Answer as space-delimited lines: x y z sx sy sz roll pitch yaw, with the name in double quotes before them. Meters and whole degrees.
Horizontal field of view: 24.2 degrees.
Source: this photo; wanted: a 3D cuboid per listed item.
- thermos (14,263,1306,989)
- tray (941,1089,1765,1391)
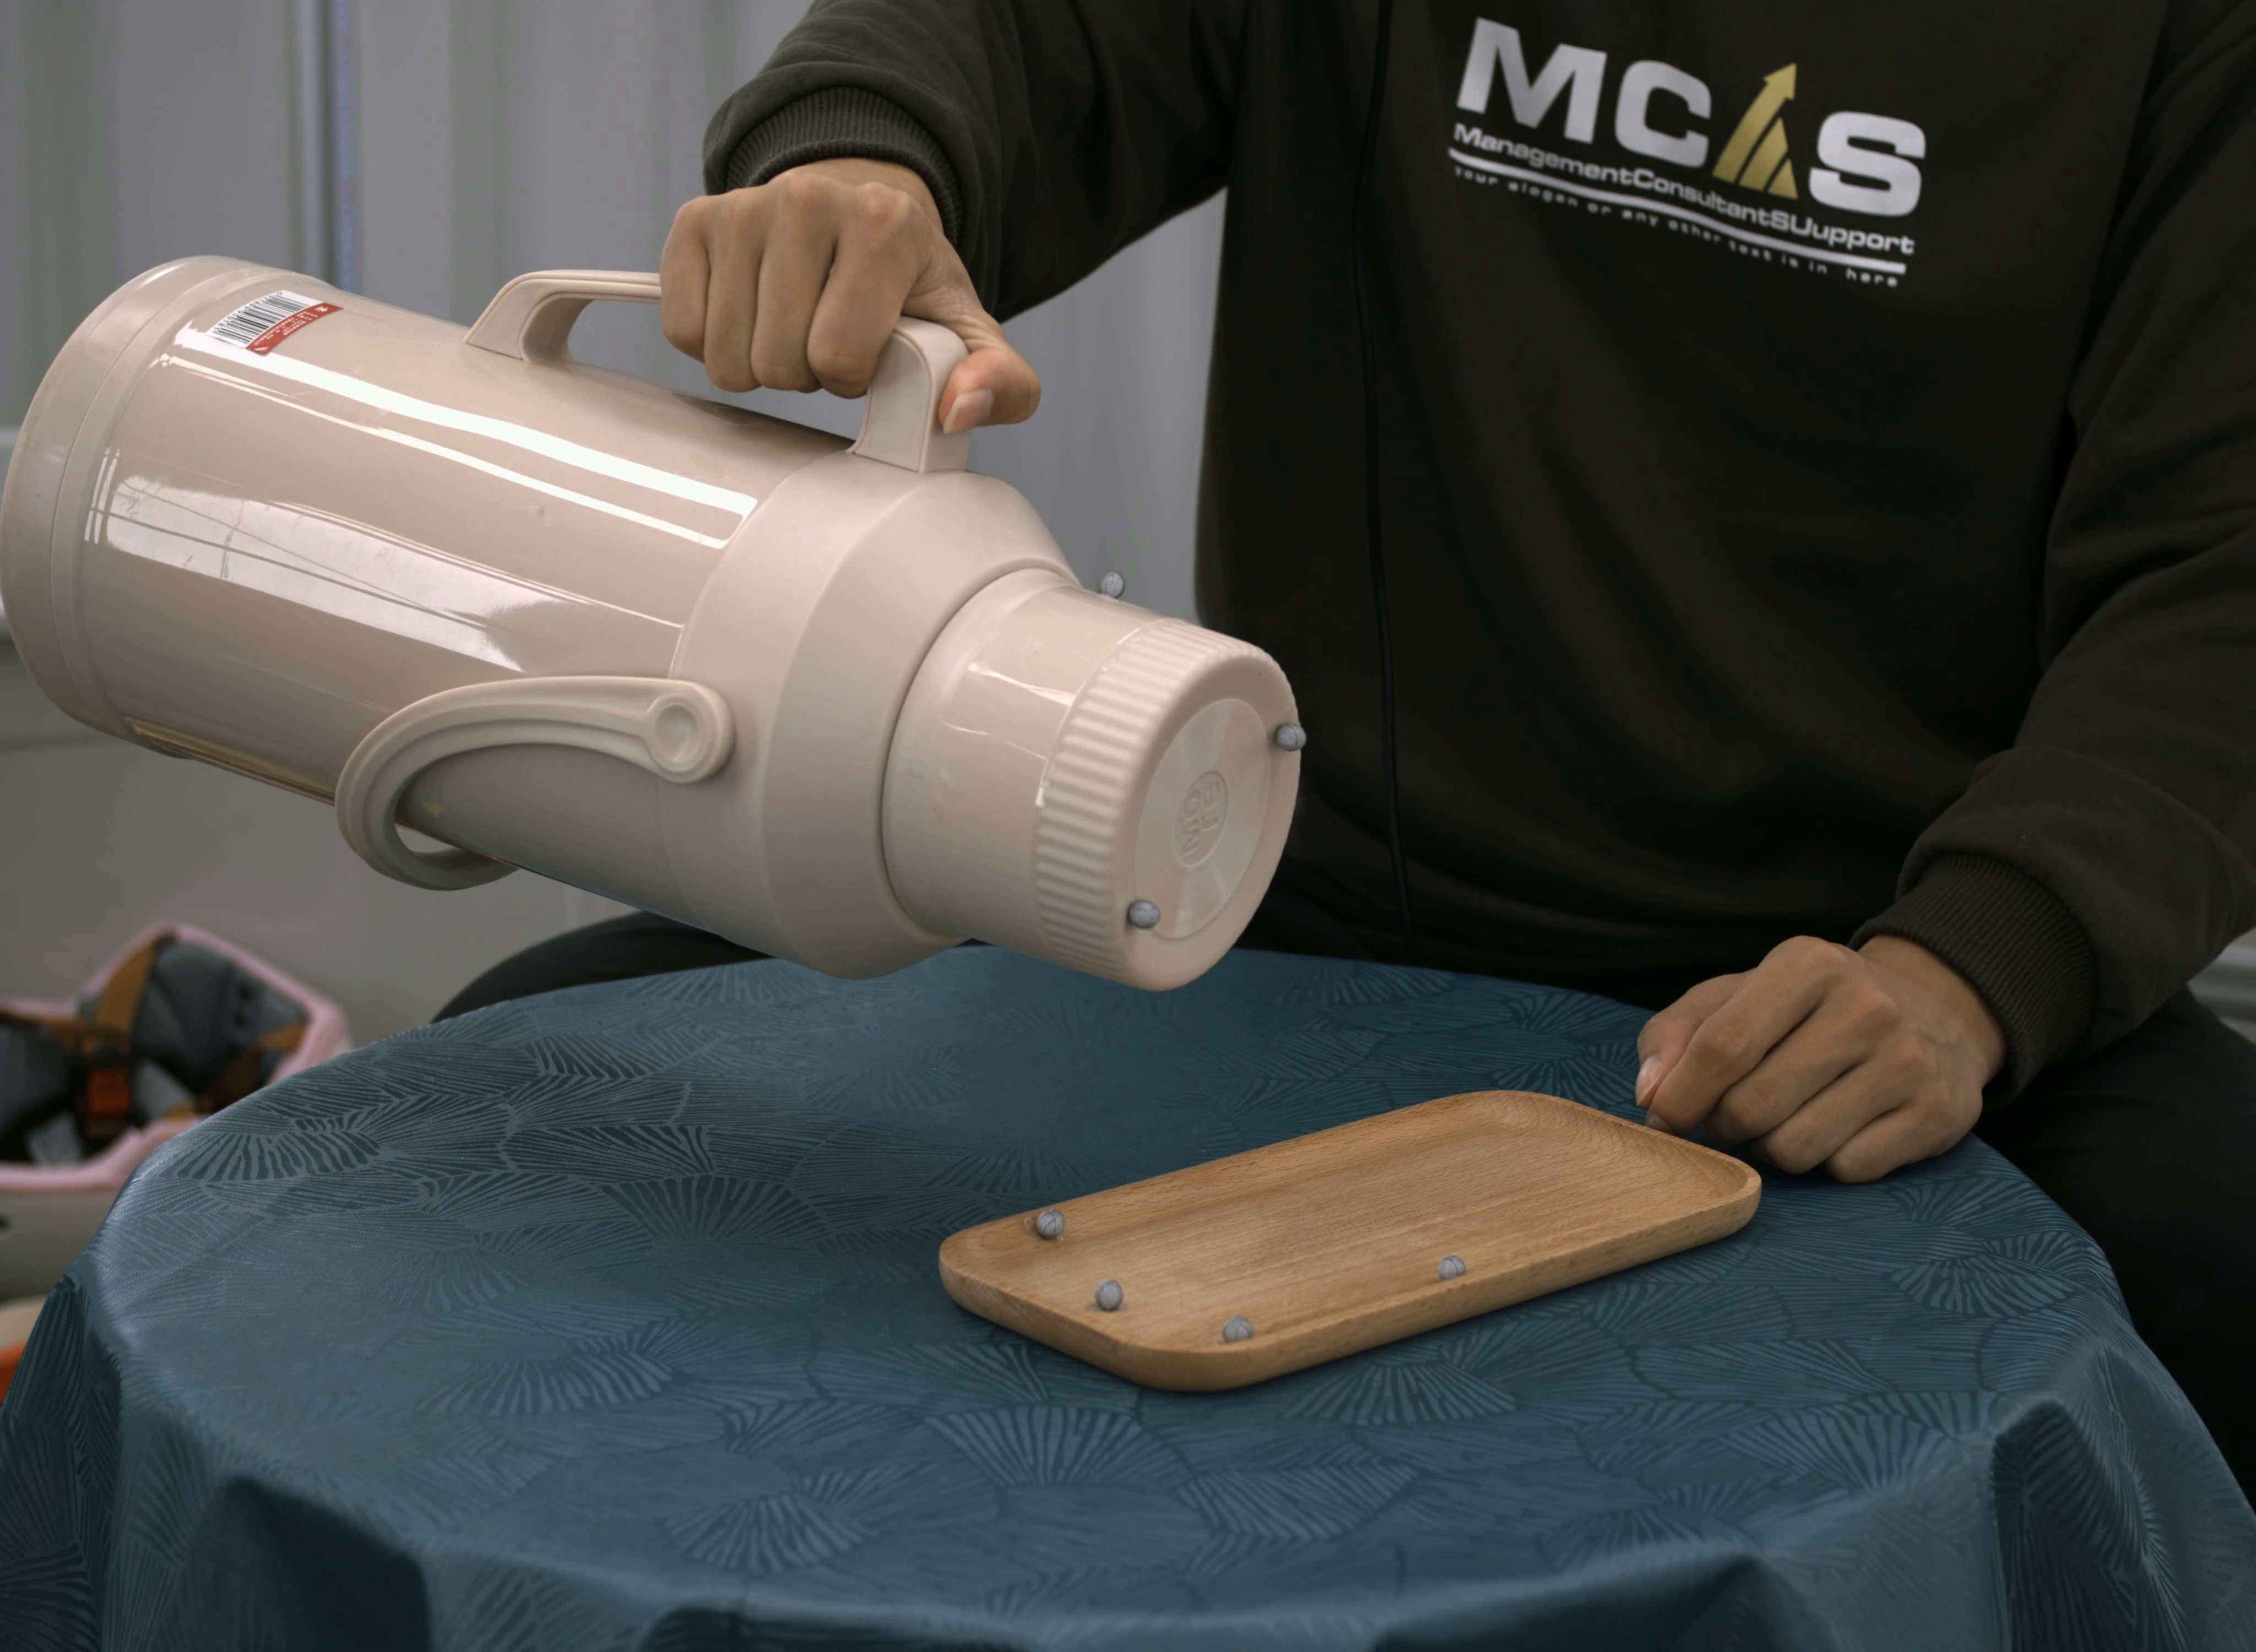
"thermos" -0.139 -0.068 1.603 0.401 0.208 0.176 18 16 30
"tray" 0.070 0.121 1.573 0.252 0.023 0.129 -11 22 -39
